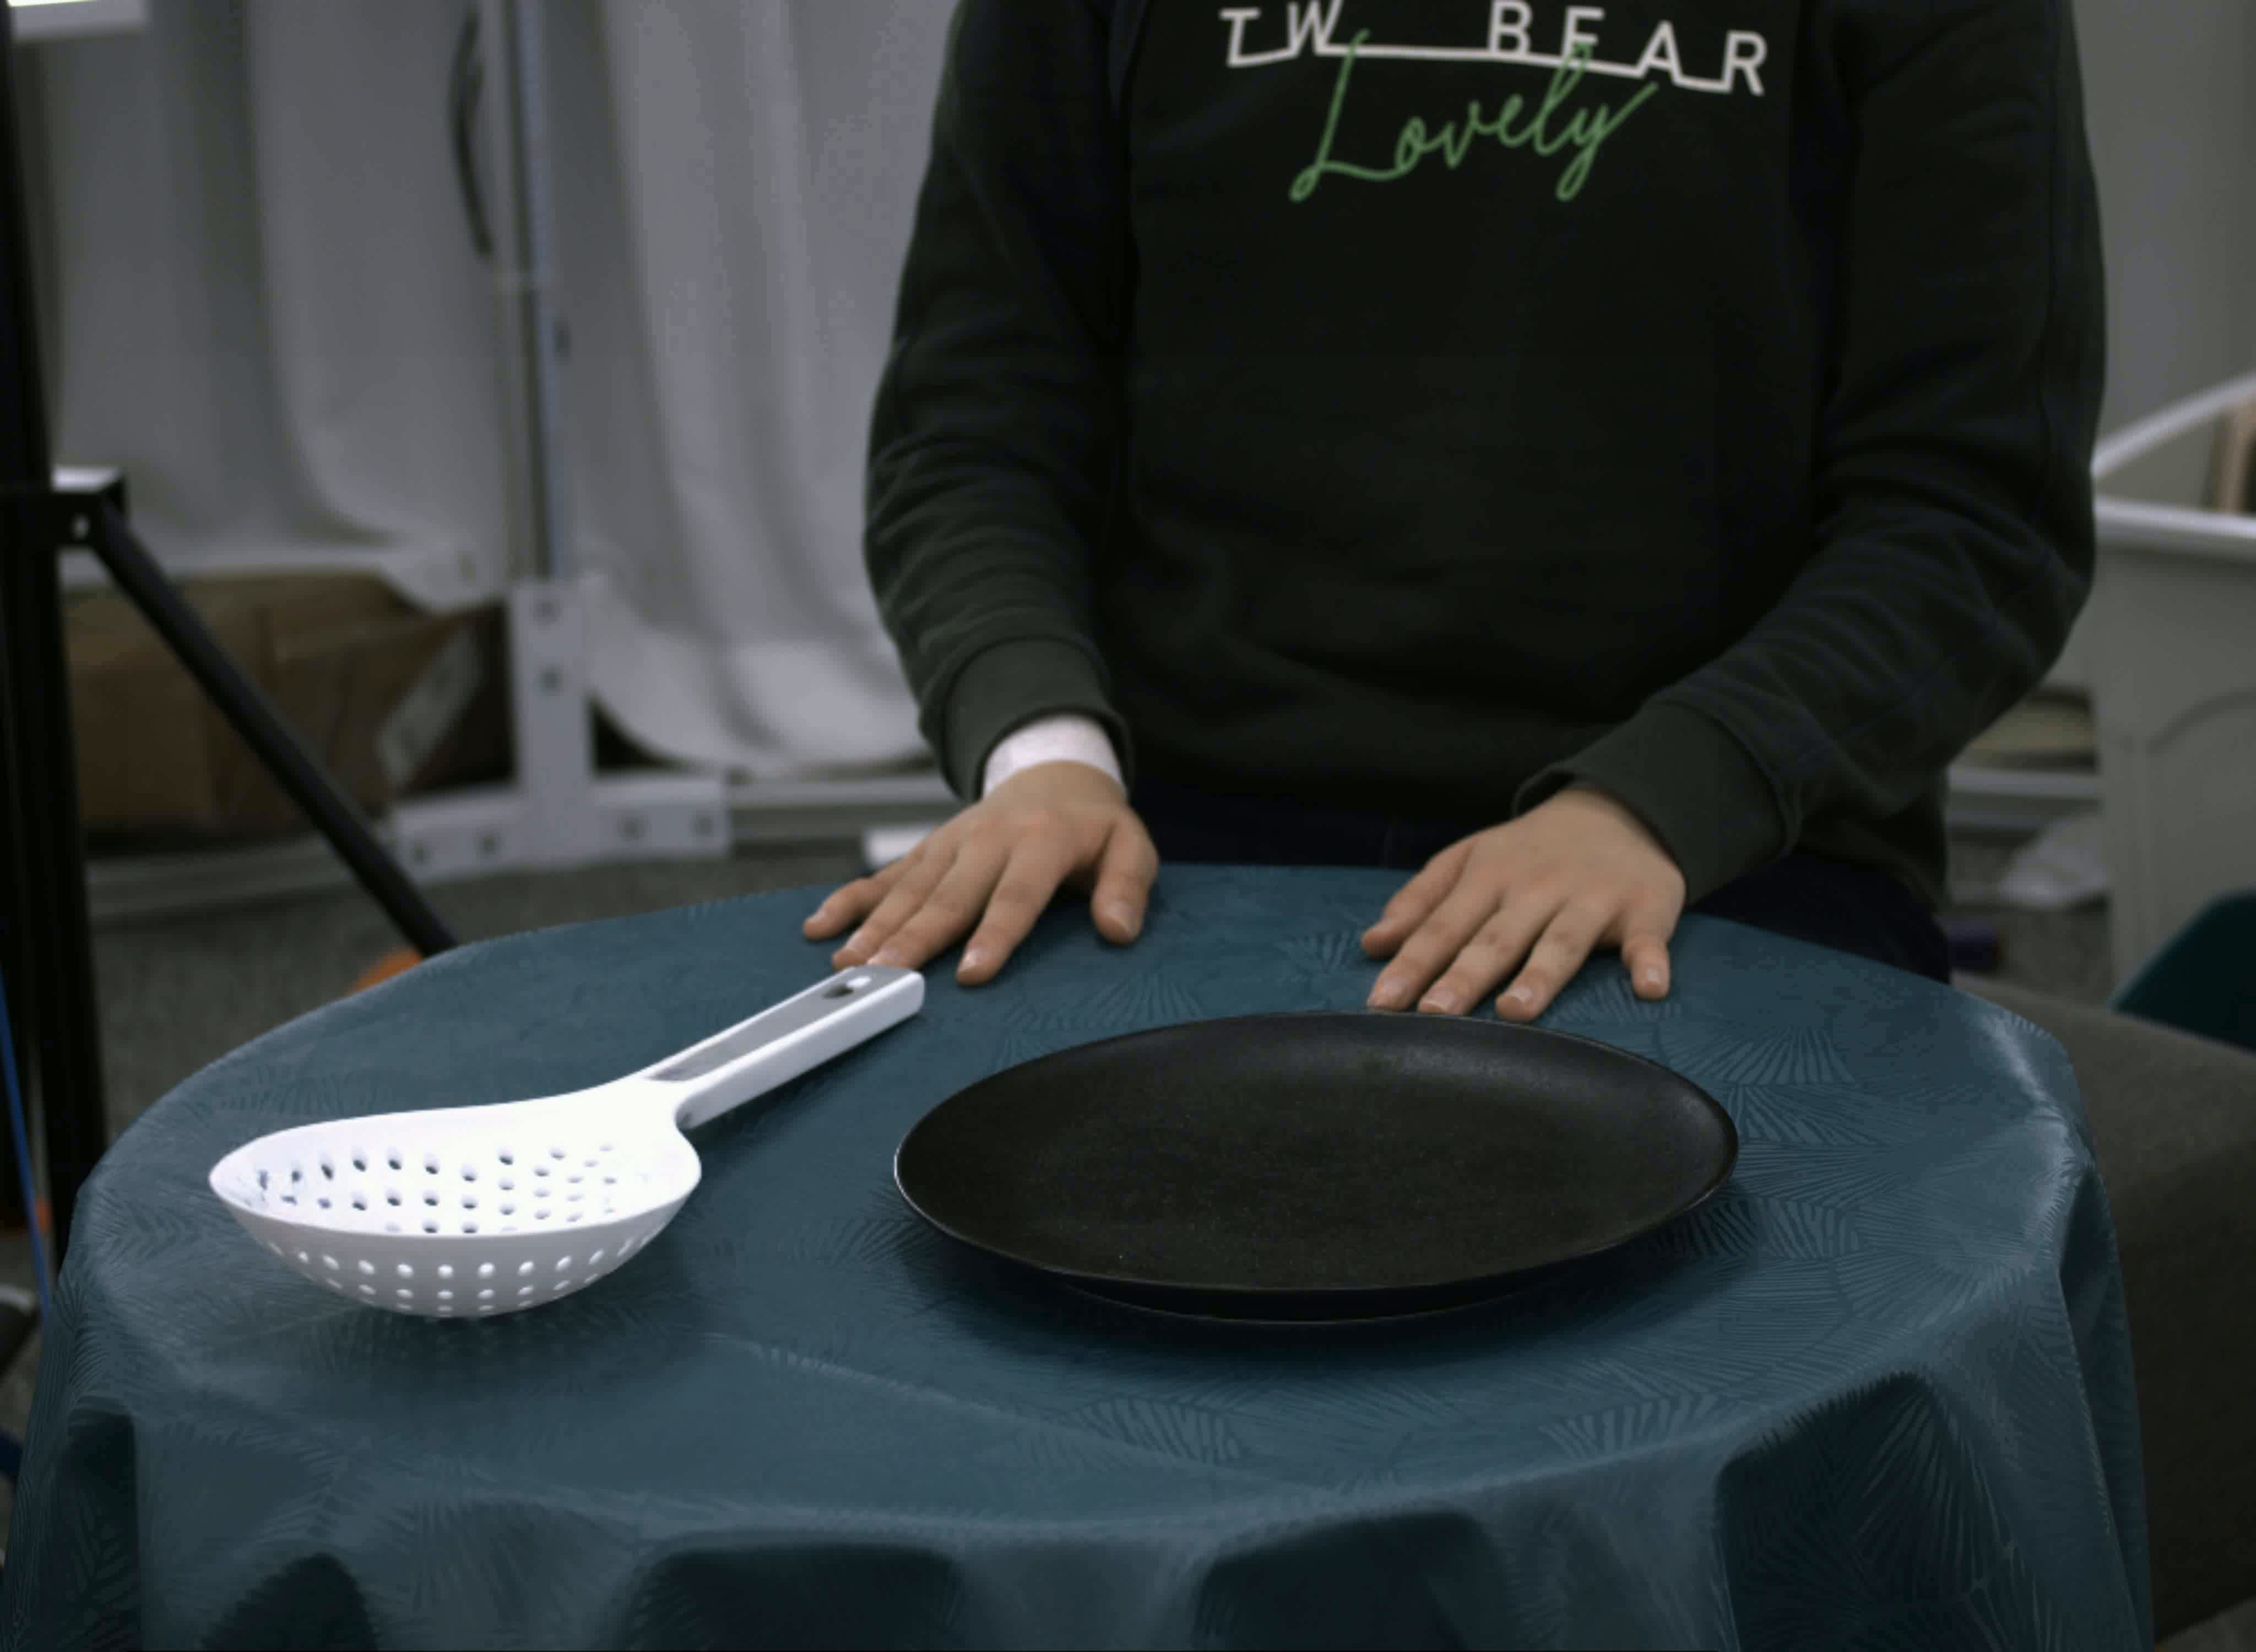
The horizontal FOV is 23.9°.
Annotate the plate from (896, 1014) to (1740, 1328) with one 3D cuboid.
[{"bbox_3d":[0.055,0.101,1.529,0.243,0.023,0.245,-3,16,-1],"label":"plate"}]

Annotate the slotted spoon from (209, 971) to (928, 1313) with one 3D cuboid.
[{"bbox_3d":[-0.145,0.084,1.583,0.138,0.046,0.344,6,17,23],"label":"slotted spoon"}]
